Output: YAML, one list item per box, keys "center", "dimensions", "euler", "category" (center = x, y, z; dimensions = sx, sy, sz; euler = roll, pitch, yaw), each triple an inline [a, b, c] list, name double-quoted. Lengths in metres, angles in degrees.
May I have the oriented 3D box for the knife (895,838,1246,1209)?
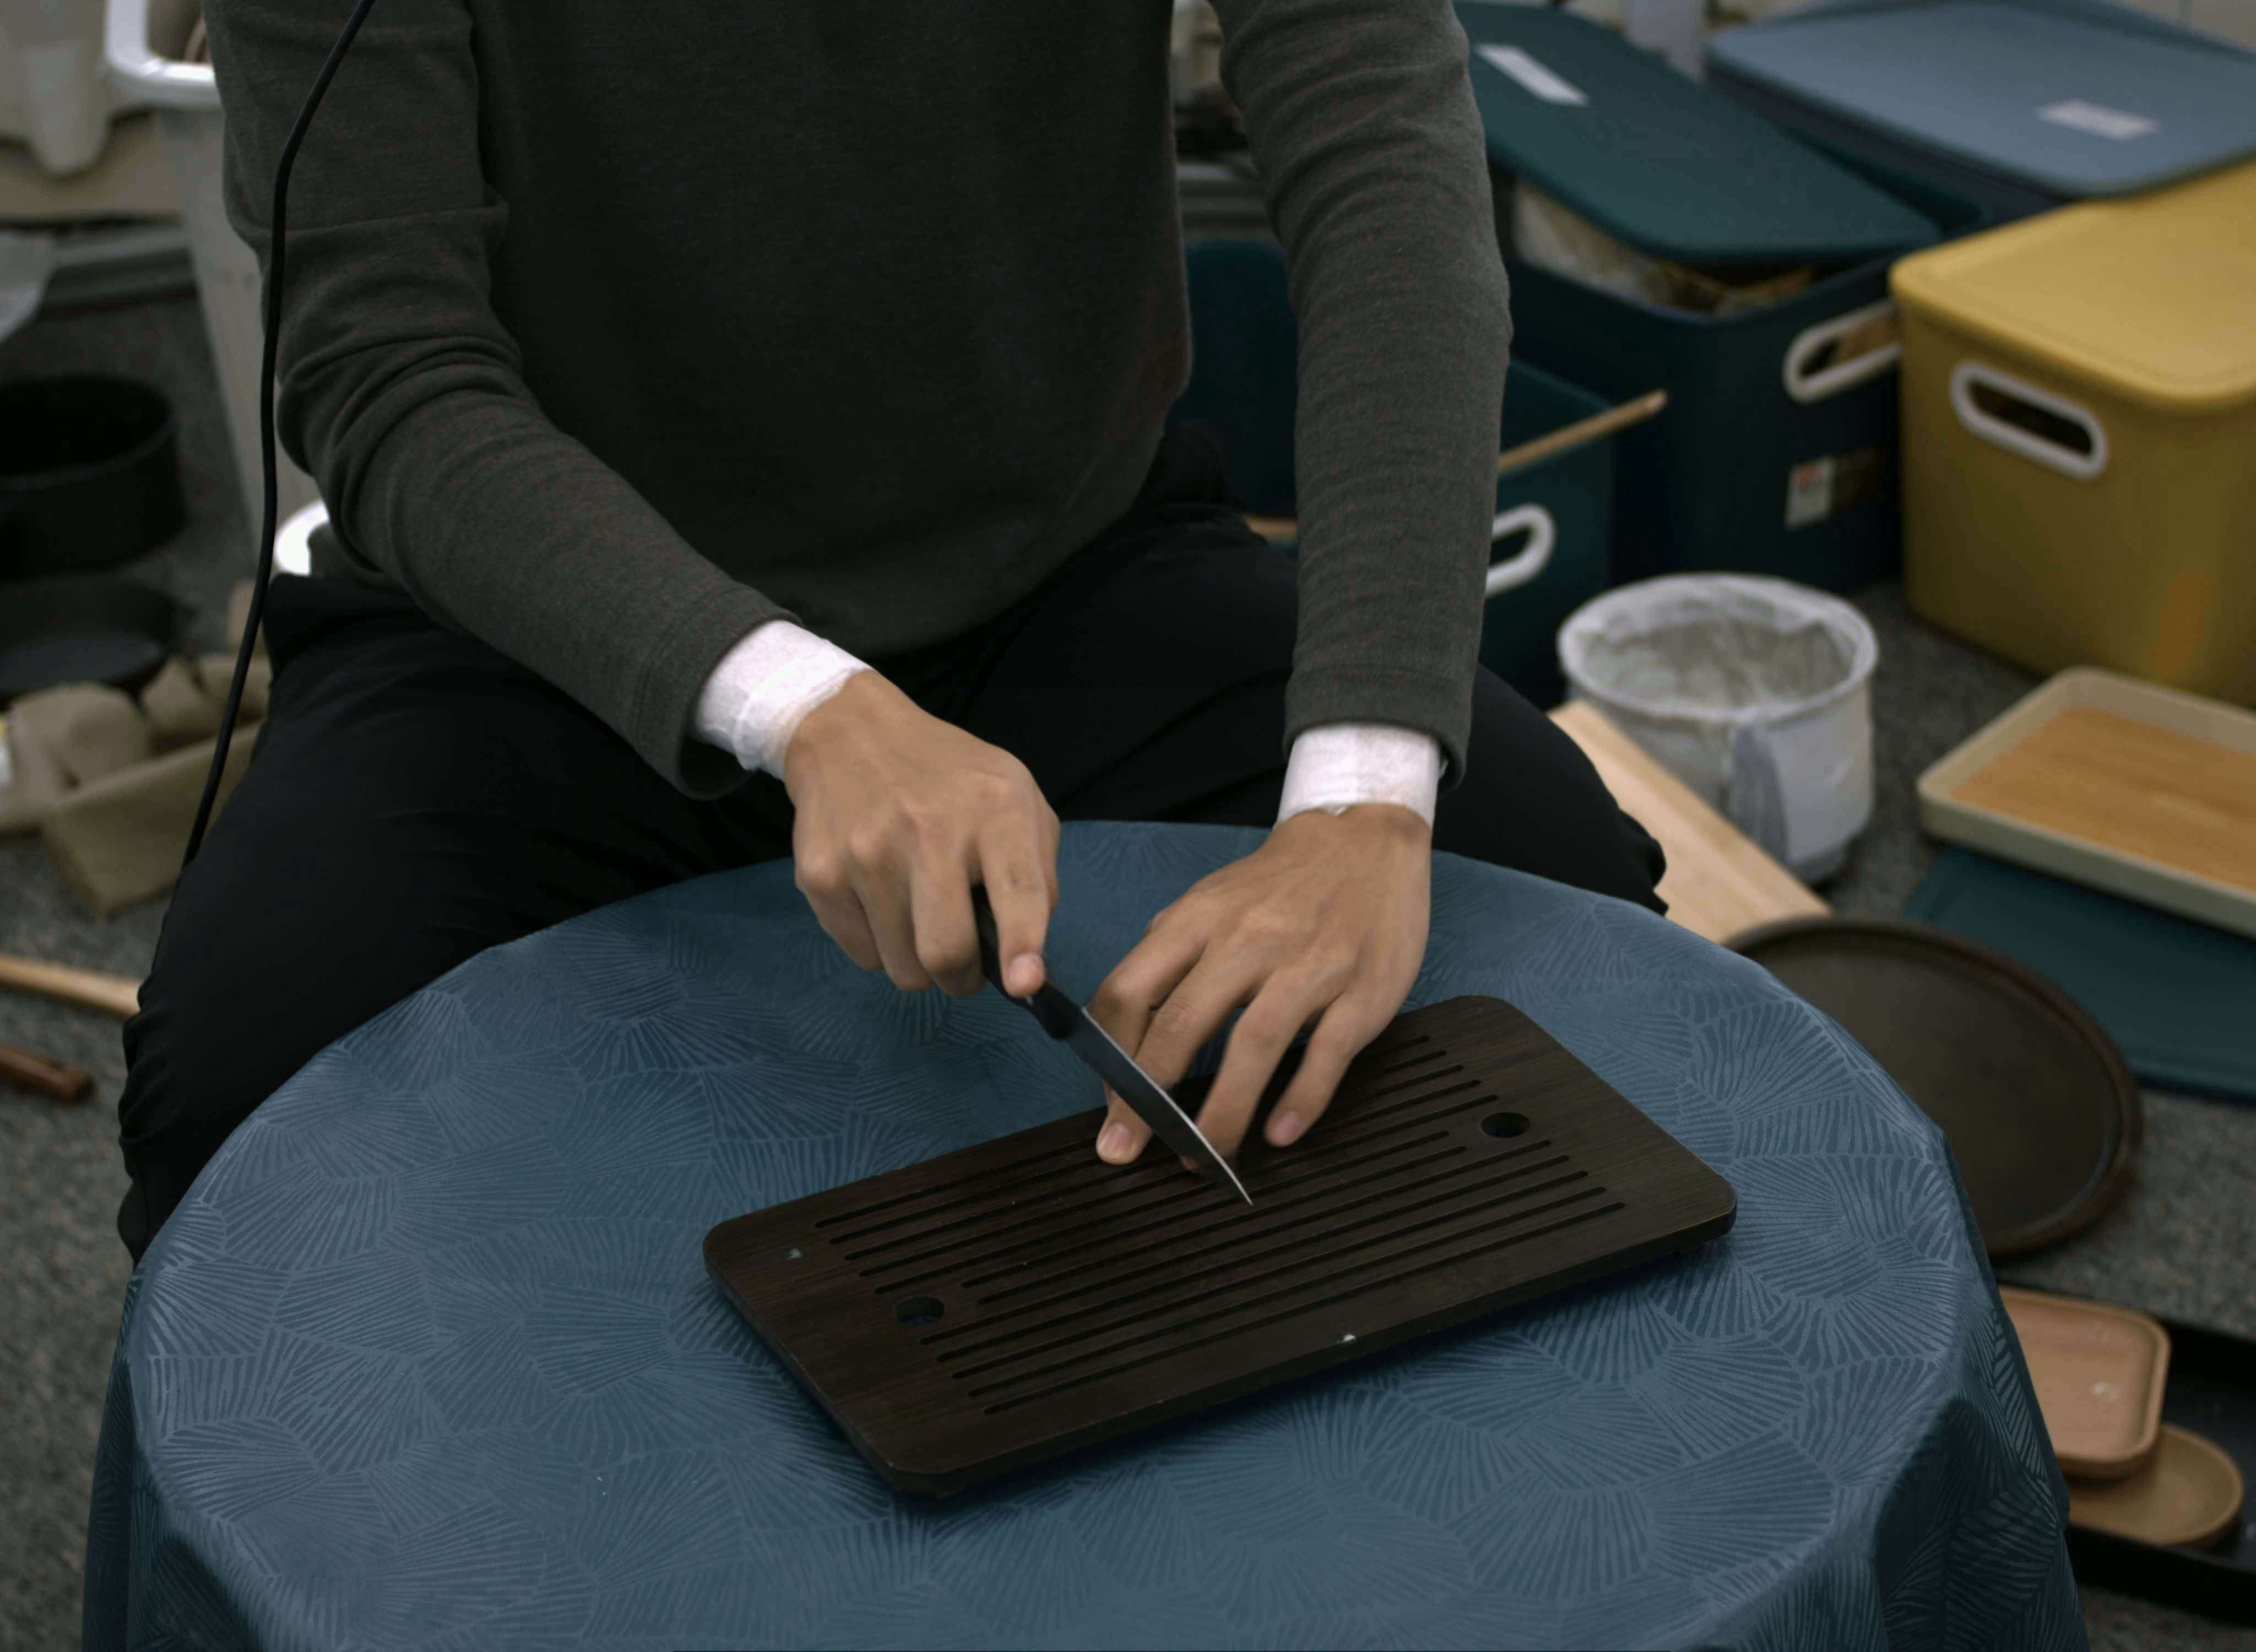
- center: [-0.019, 0.062, 1.837]
  dimensions: [0.016, 0.024, 0.240]
  euler: [-12, 33, -25]
  category: "knife"

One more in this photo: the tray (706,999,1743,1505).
- center: [0.031, 0.135, 1.814]
  dimensions: [0.307, 0.018, 0.171]
  euler: [-16, 29, -24]
  category: "tray"
